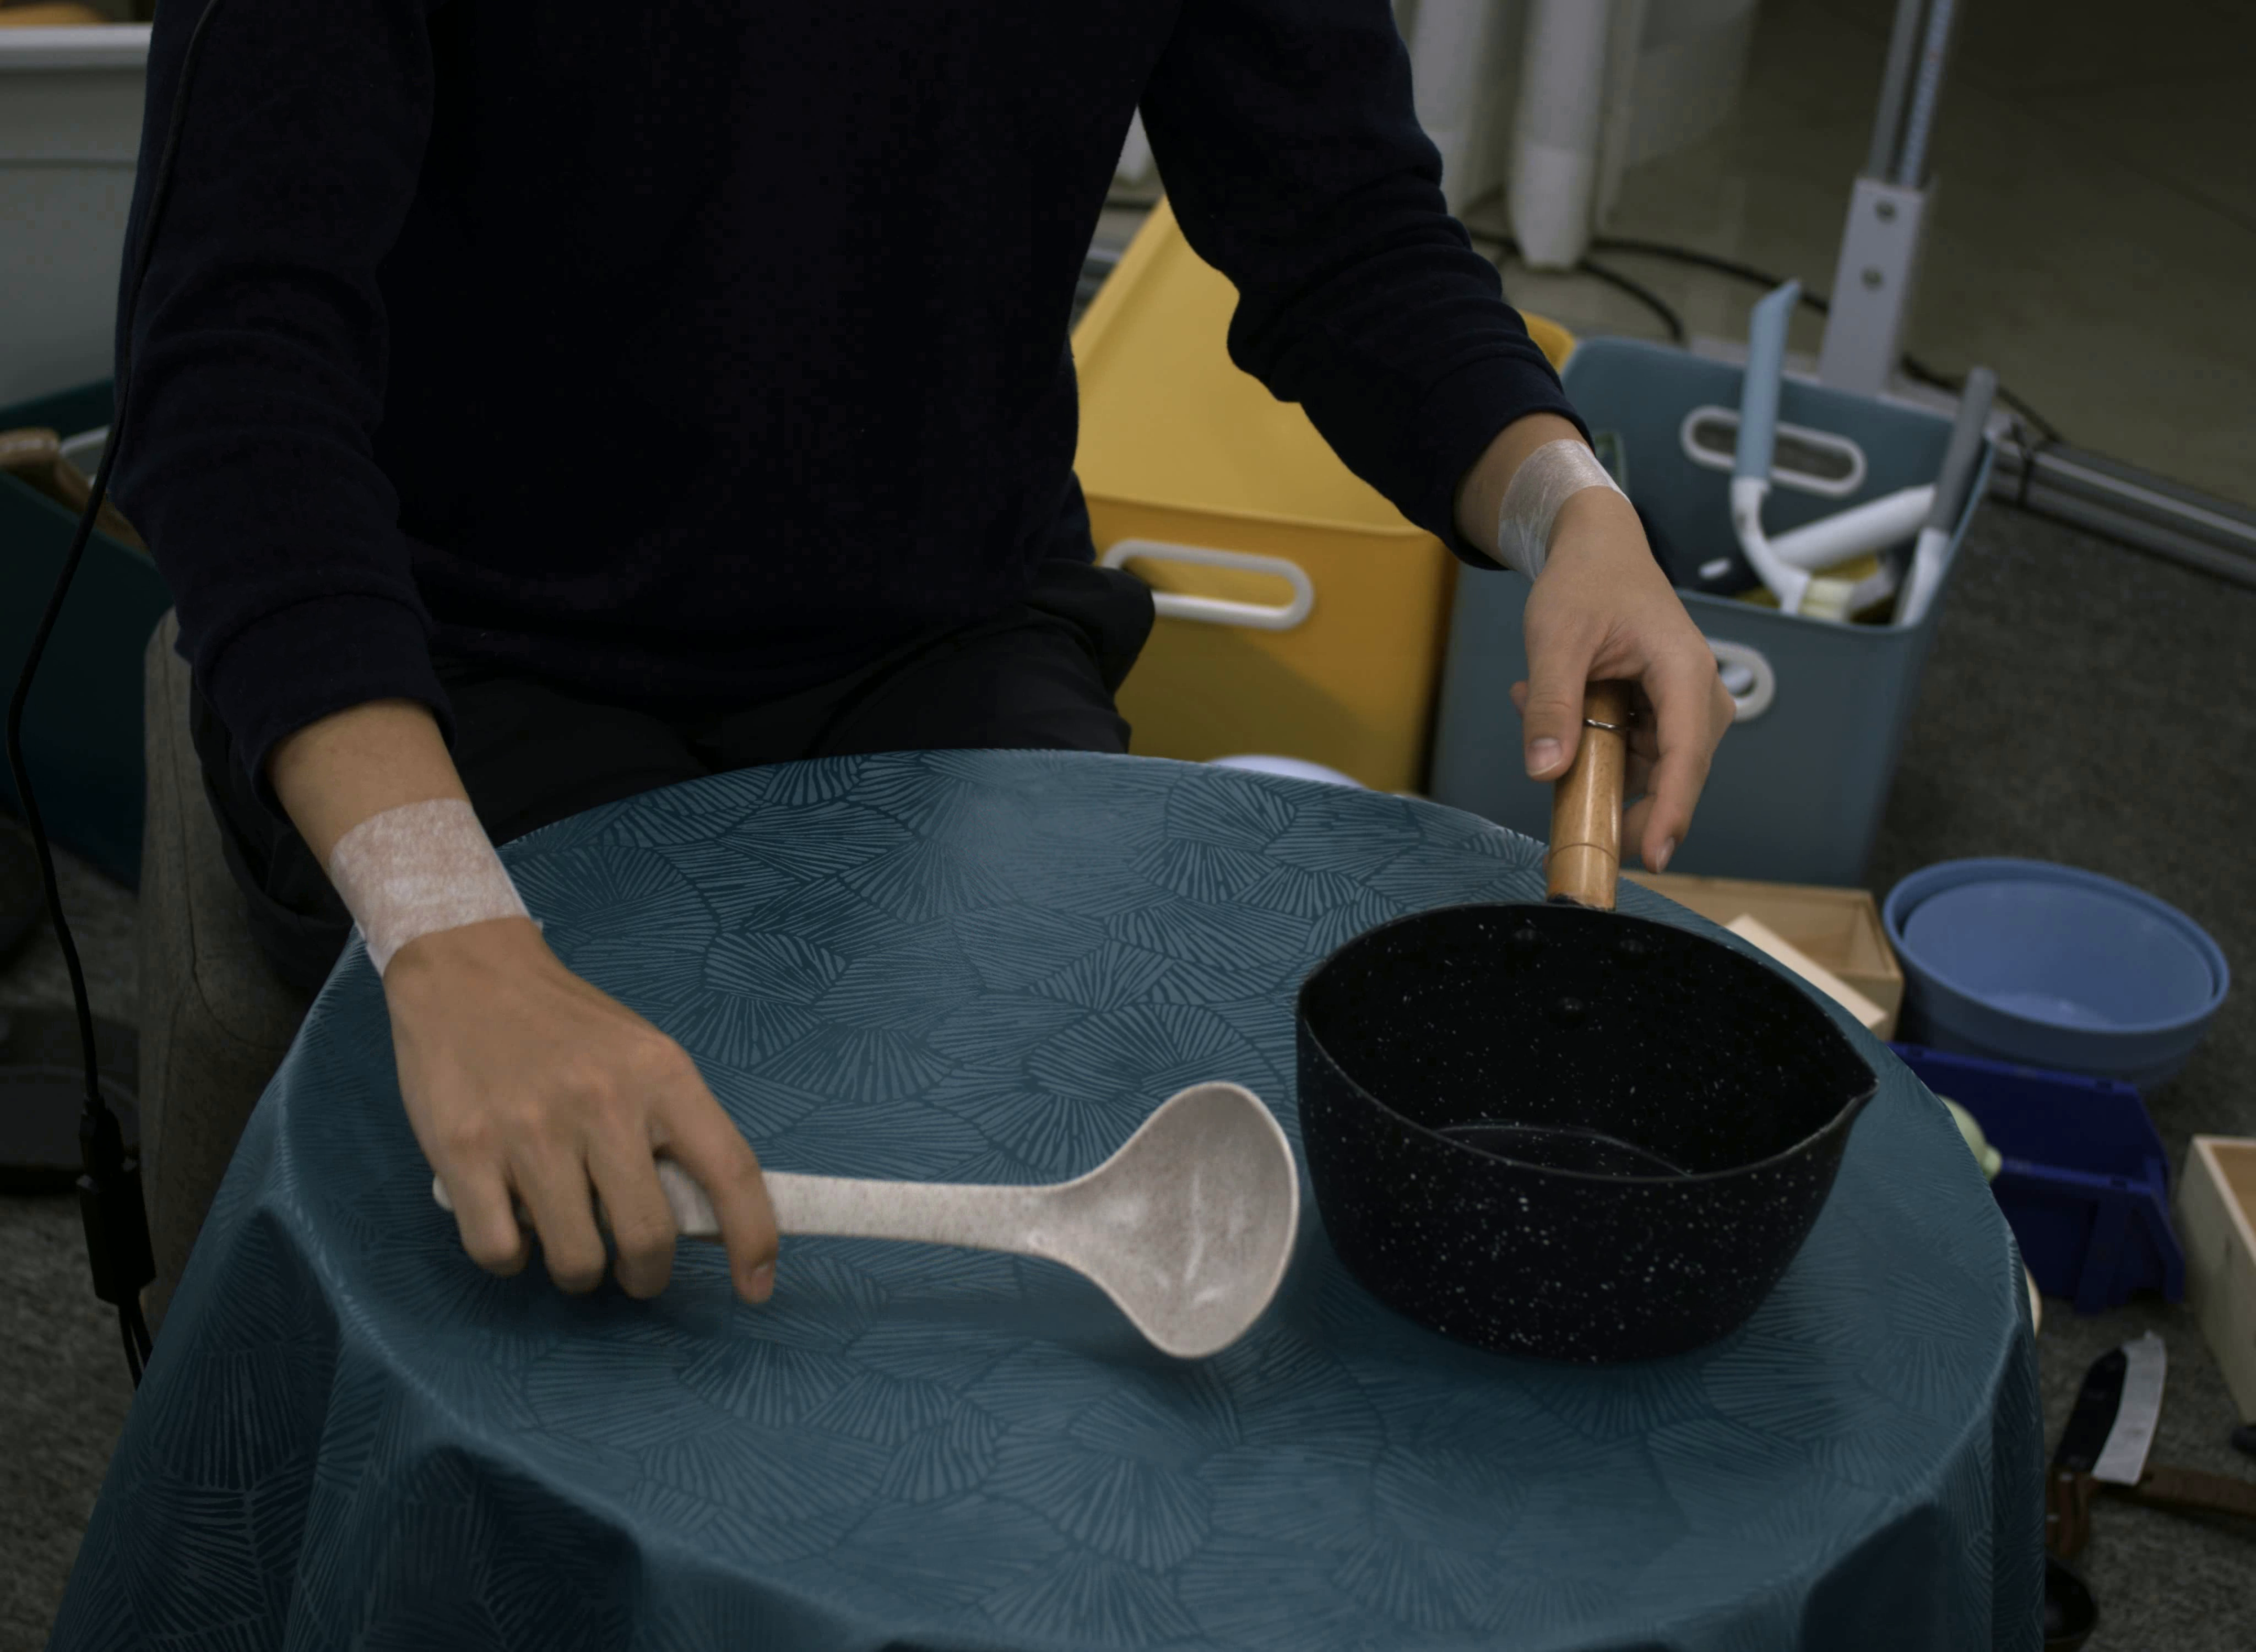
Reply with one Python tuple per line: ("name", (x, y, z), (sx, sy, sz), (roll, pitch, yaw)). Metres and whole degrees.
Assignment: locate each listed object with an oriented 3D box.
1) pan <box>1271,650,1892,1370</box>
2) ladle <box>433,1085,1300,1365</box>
("pan", (0.153, 0.059, 1.844), (0.207, 0.108, 0.344), (6, 28, 2))
("ladle", (-0.083, 0.121, 1.685), (0.274, 0.090, 0.069), (3, -9, -5))
